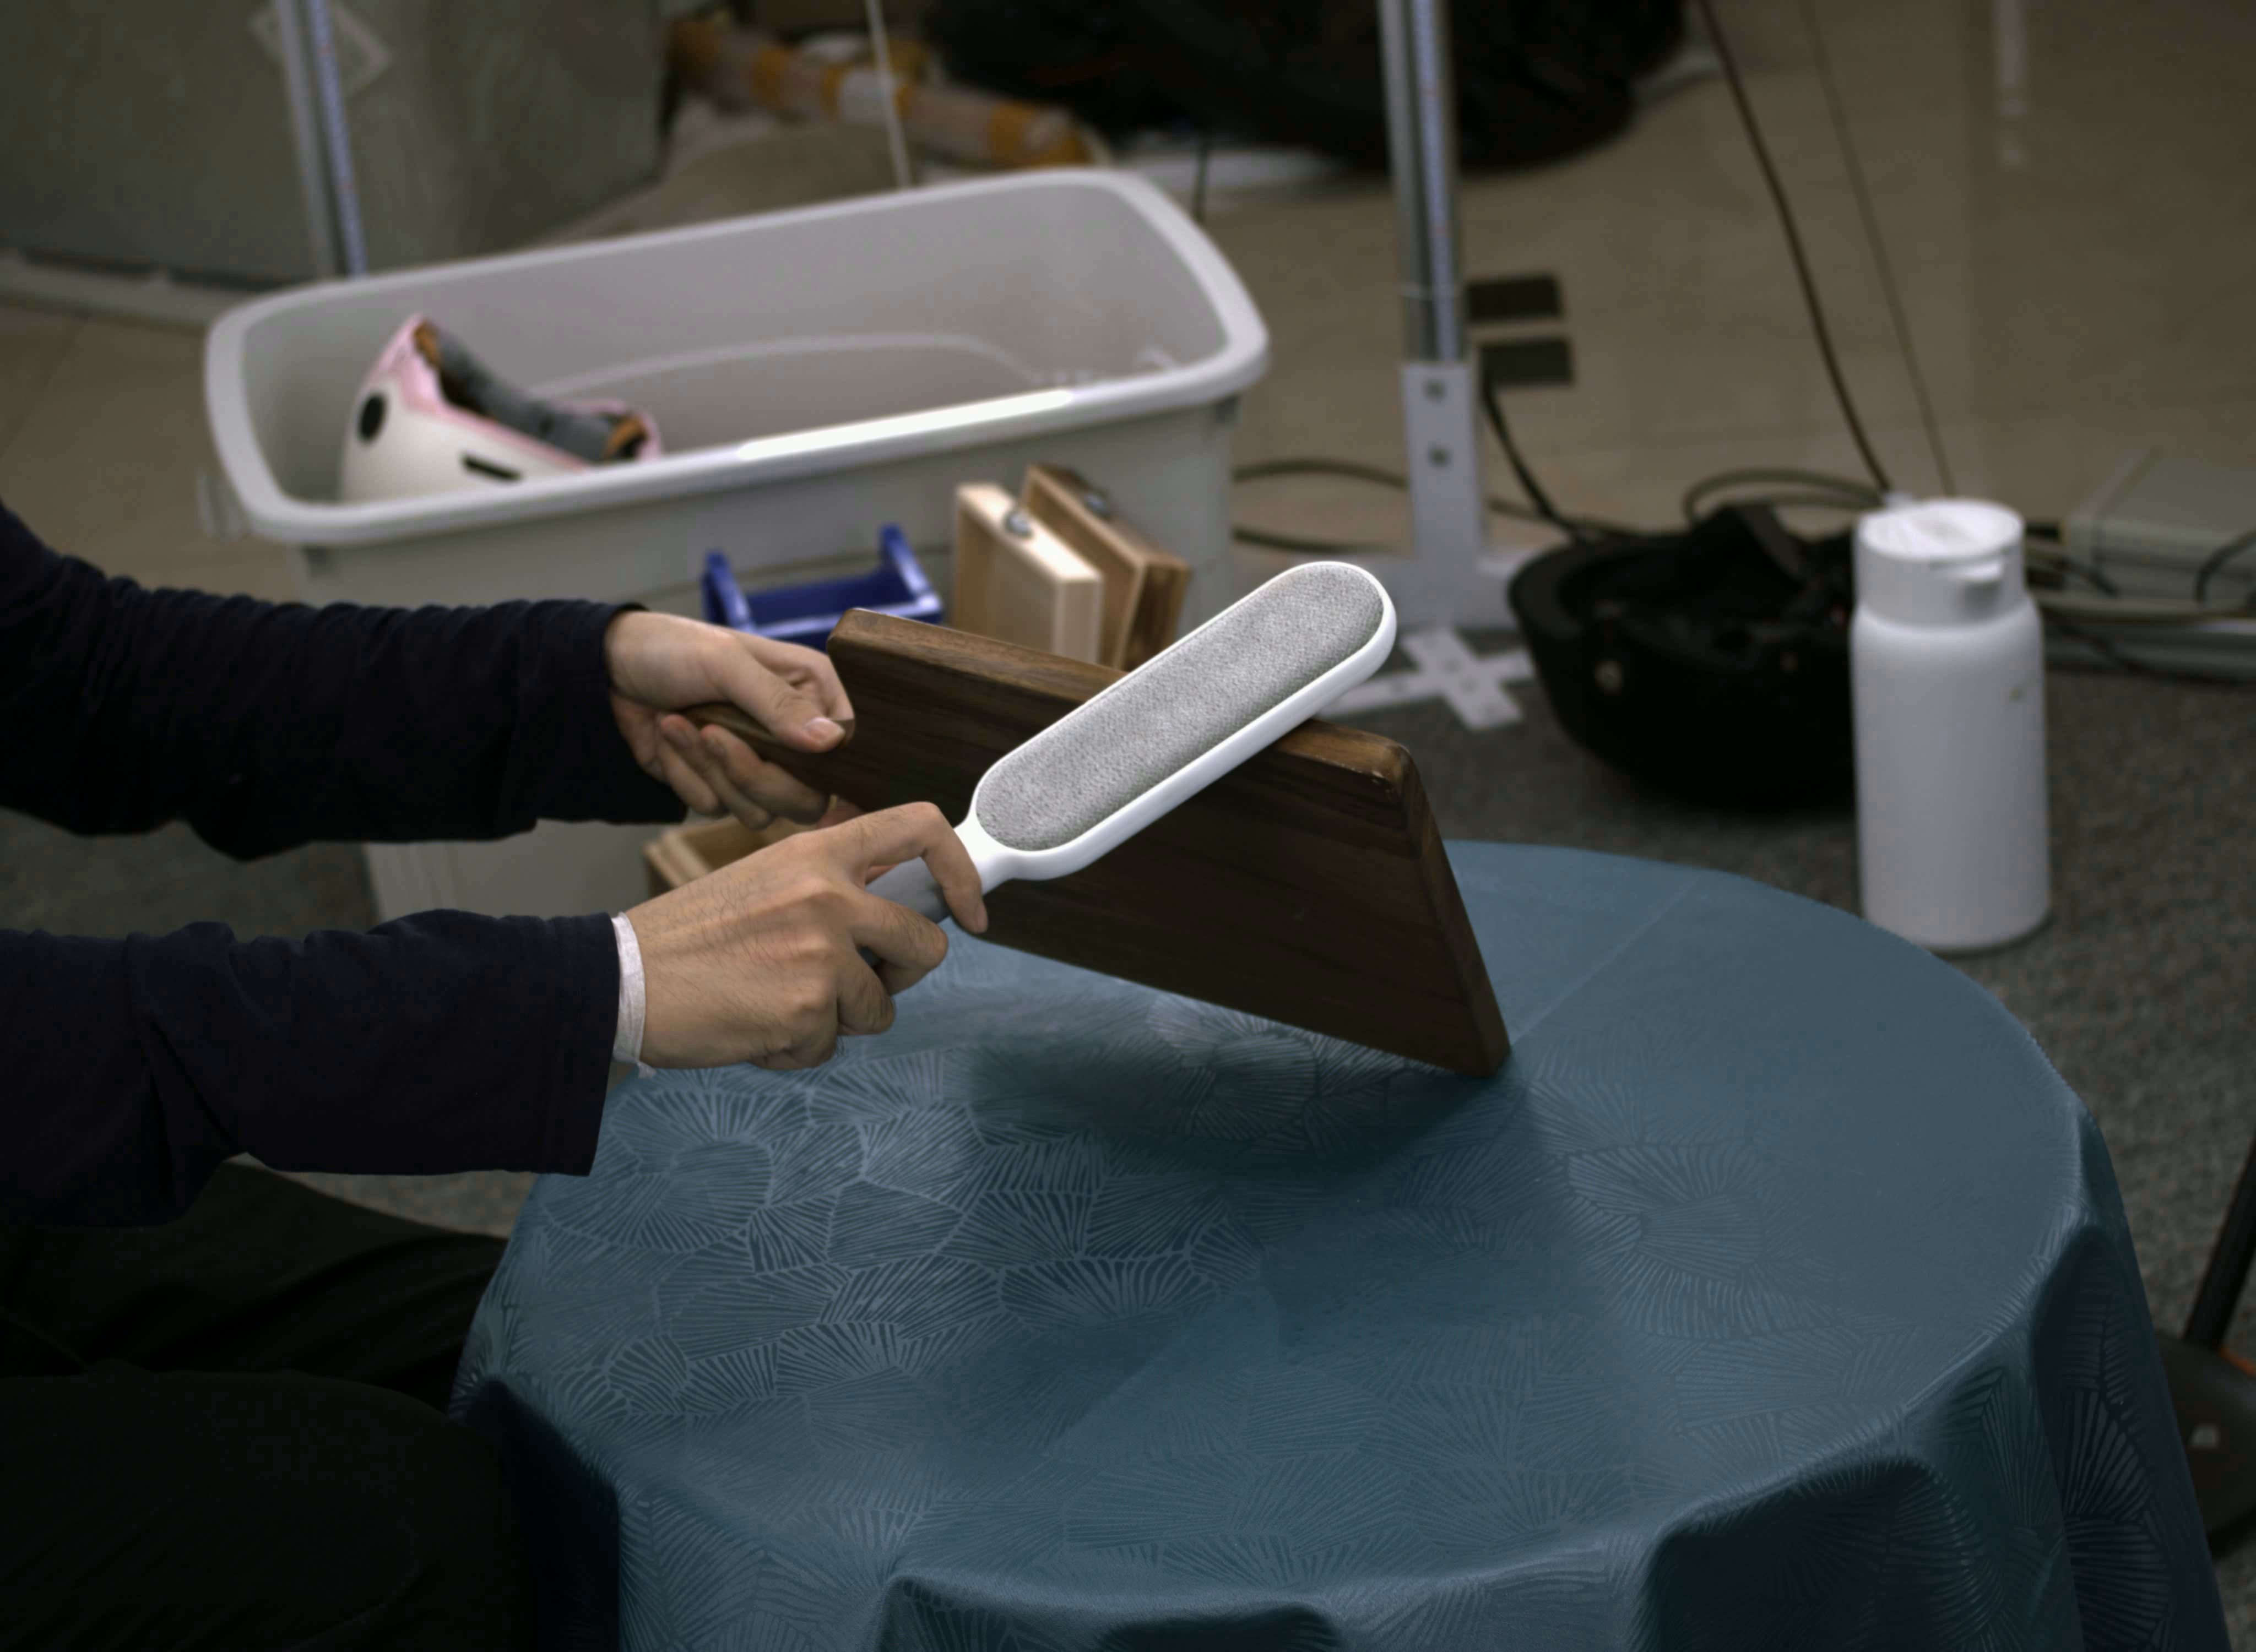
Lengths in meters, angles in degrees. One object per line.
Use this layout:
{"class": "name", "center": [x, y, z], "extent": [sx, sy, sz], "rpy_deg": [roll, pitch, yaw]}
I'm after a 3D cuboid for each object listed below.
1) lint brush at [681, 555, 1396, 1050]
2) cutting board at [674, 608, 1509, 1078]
{"class": "lint brush", "center": [-0.033, -0.009, 2.064], "extent": [0.307, 0.021, 0.059], "rpy_deg": [-33, 56, -11]}
{"class": "cutting board", "center": [-0.026, -0.003, 2.210], "extent": [0.350, 0.204, 0.023], "rpy_deg": [14, 59, 27]}
